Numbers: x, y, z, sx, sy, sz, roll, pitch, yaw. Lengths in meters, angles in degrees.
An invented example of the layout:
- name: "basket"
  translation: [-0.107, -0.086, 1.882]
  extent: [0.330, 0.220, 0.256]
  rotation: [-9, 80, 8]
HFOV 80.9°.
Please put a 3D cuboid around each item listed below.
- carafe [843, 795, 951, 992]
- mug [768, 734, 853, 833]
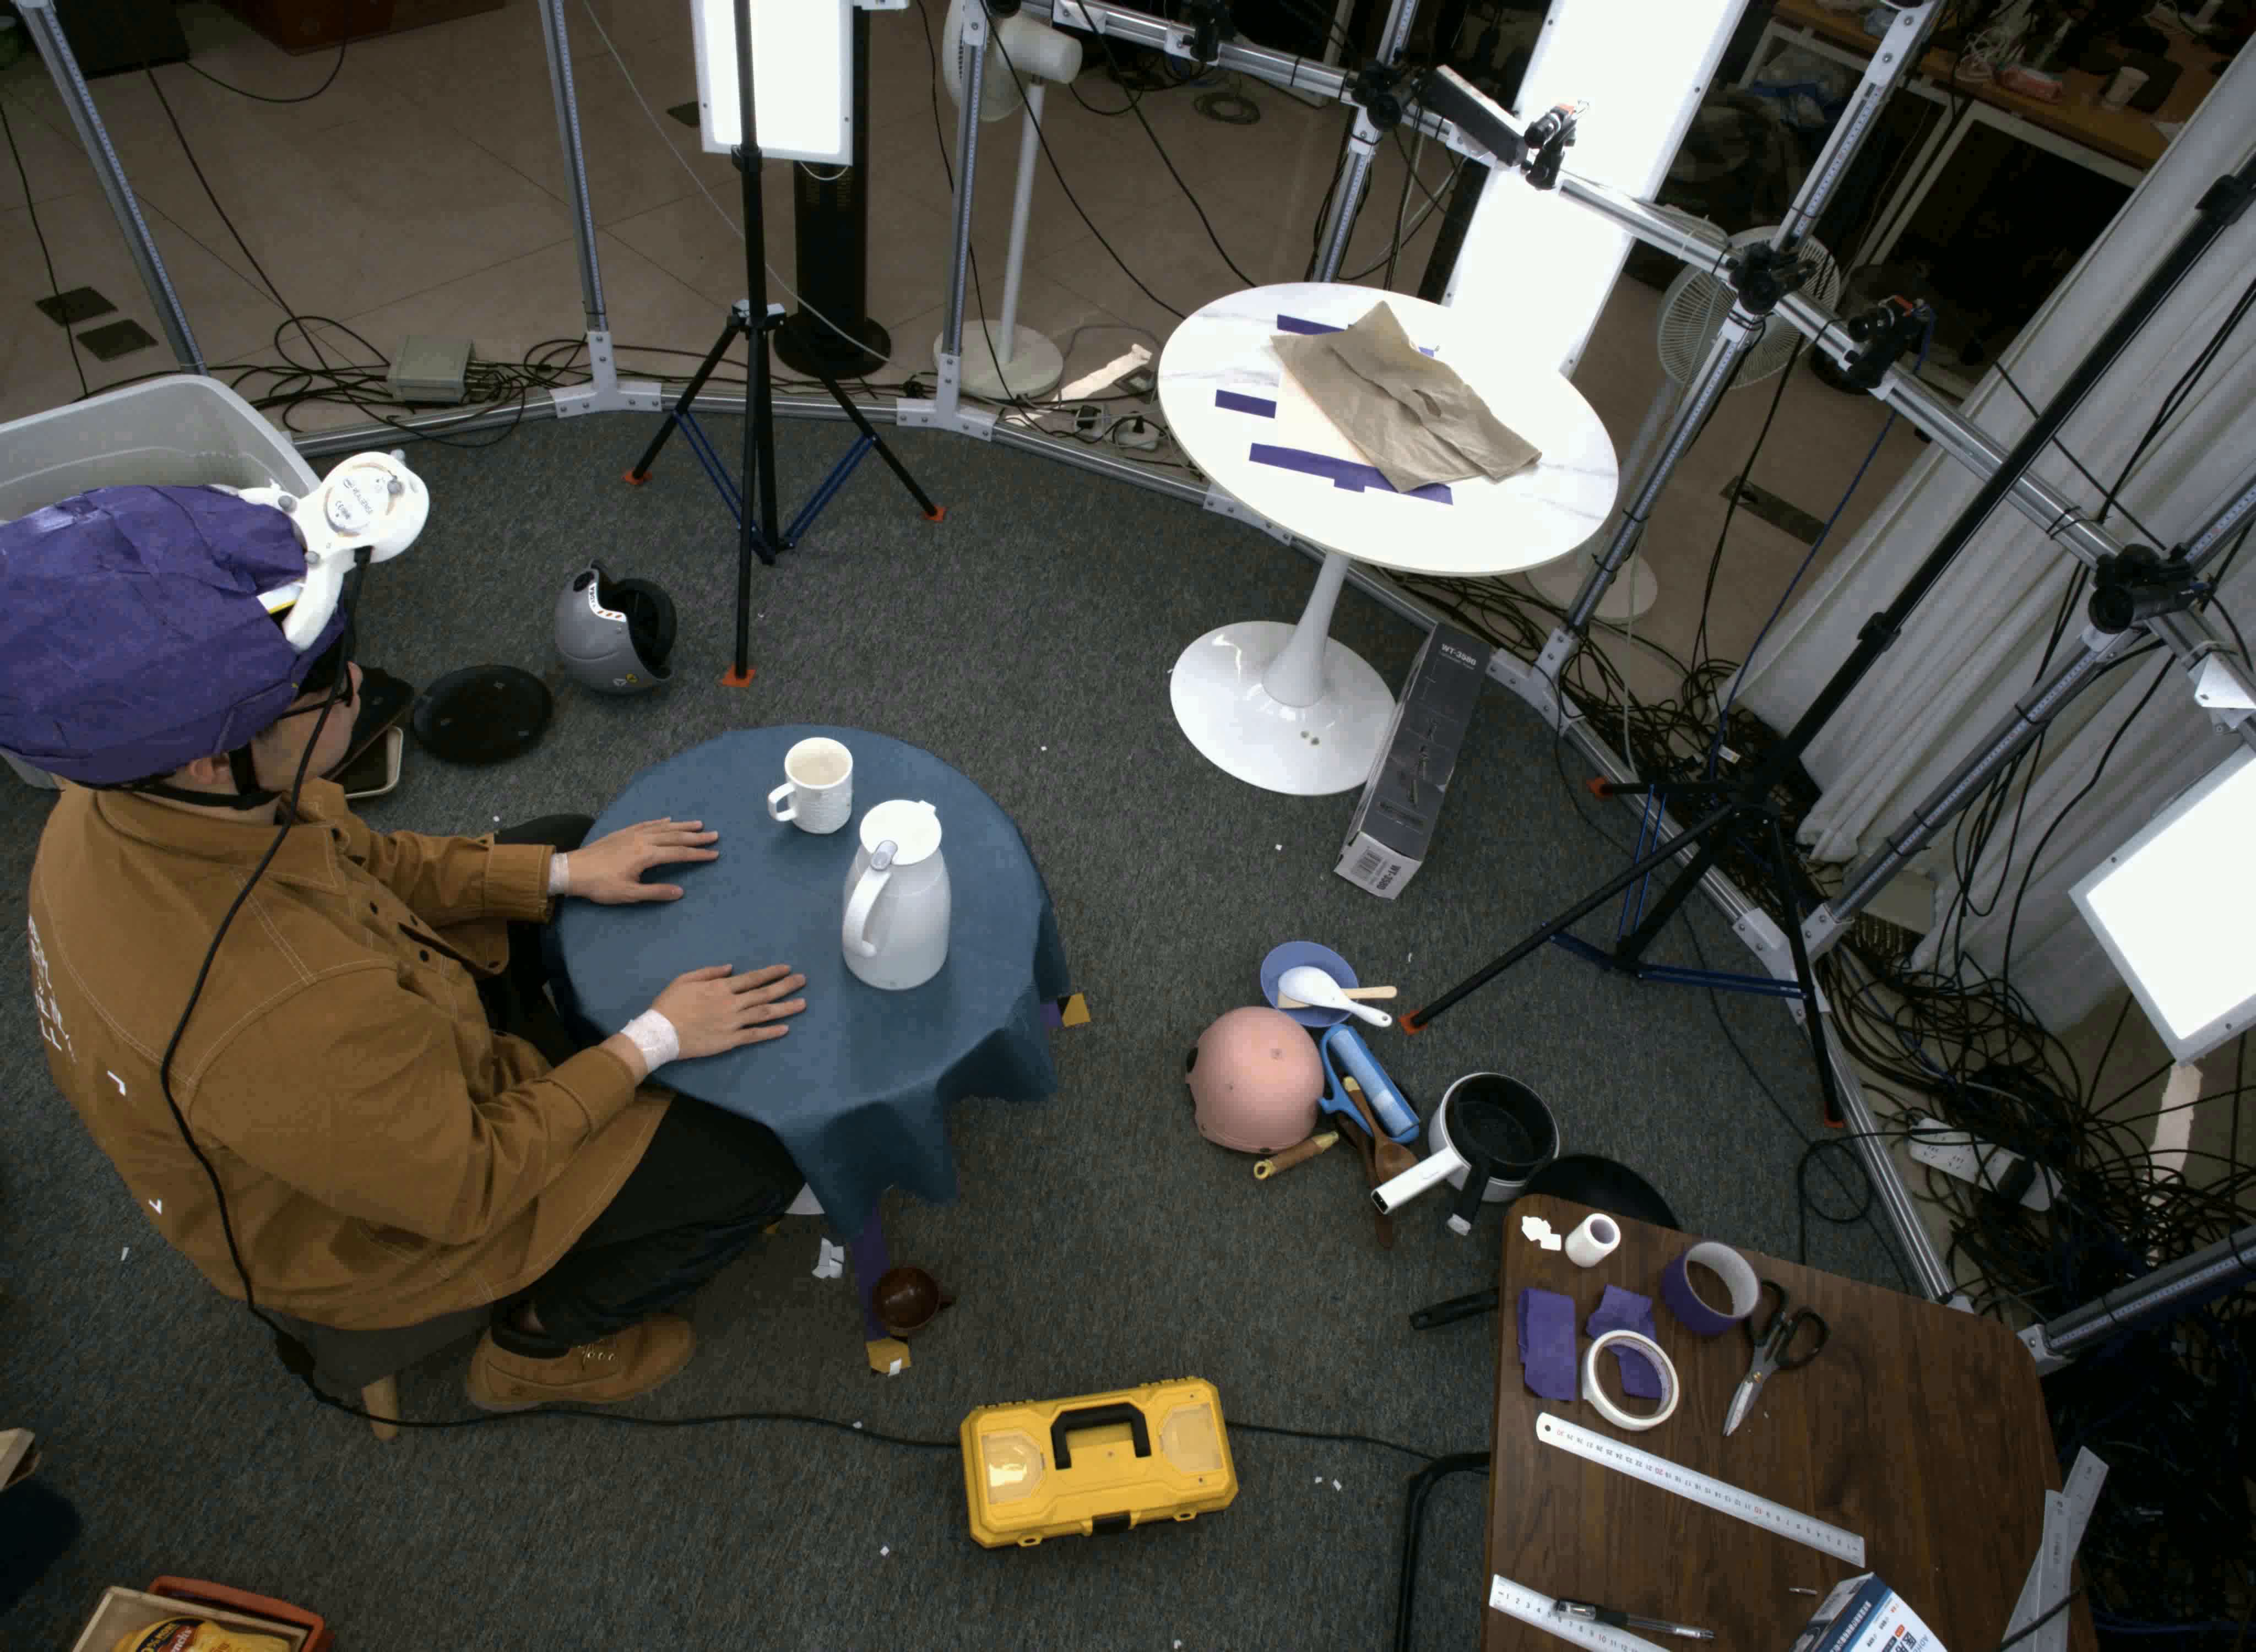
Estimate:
- name: "carafe"
  translation: [-0.280, 0.086, 1.533]
  extent: [0.130, 0.254, 0.166]
  rotation: [24, 52, 7]
- name: "mug"
  translation: [-0.416, -0.047, 1.689]
  extent: [0.083, 0.104, 0.118]
  rotation: [42, 54, 19]
